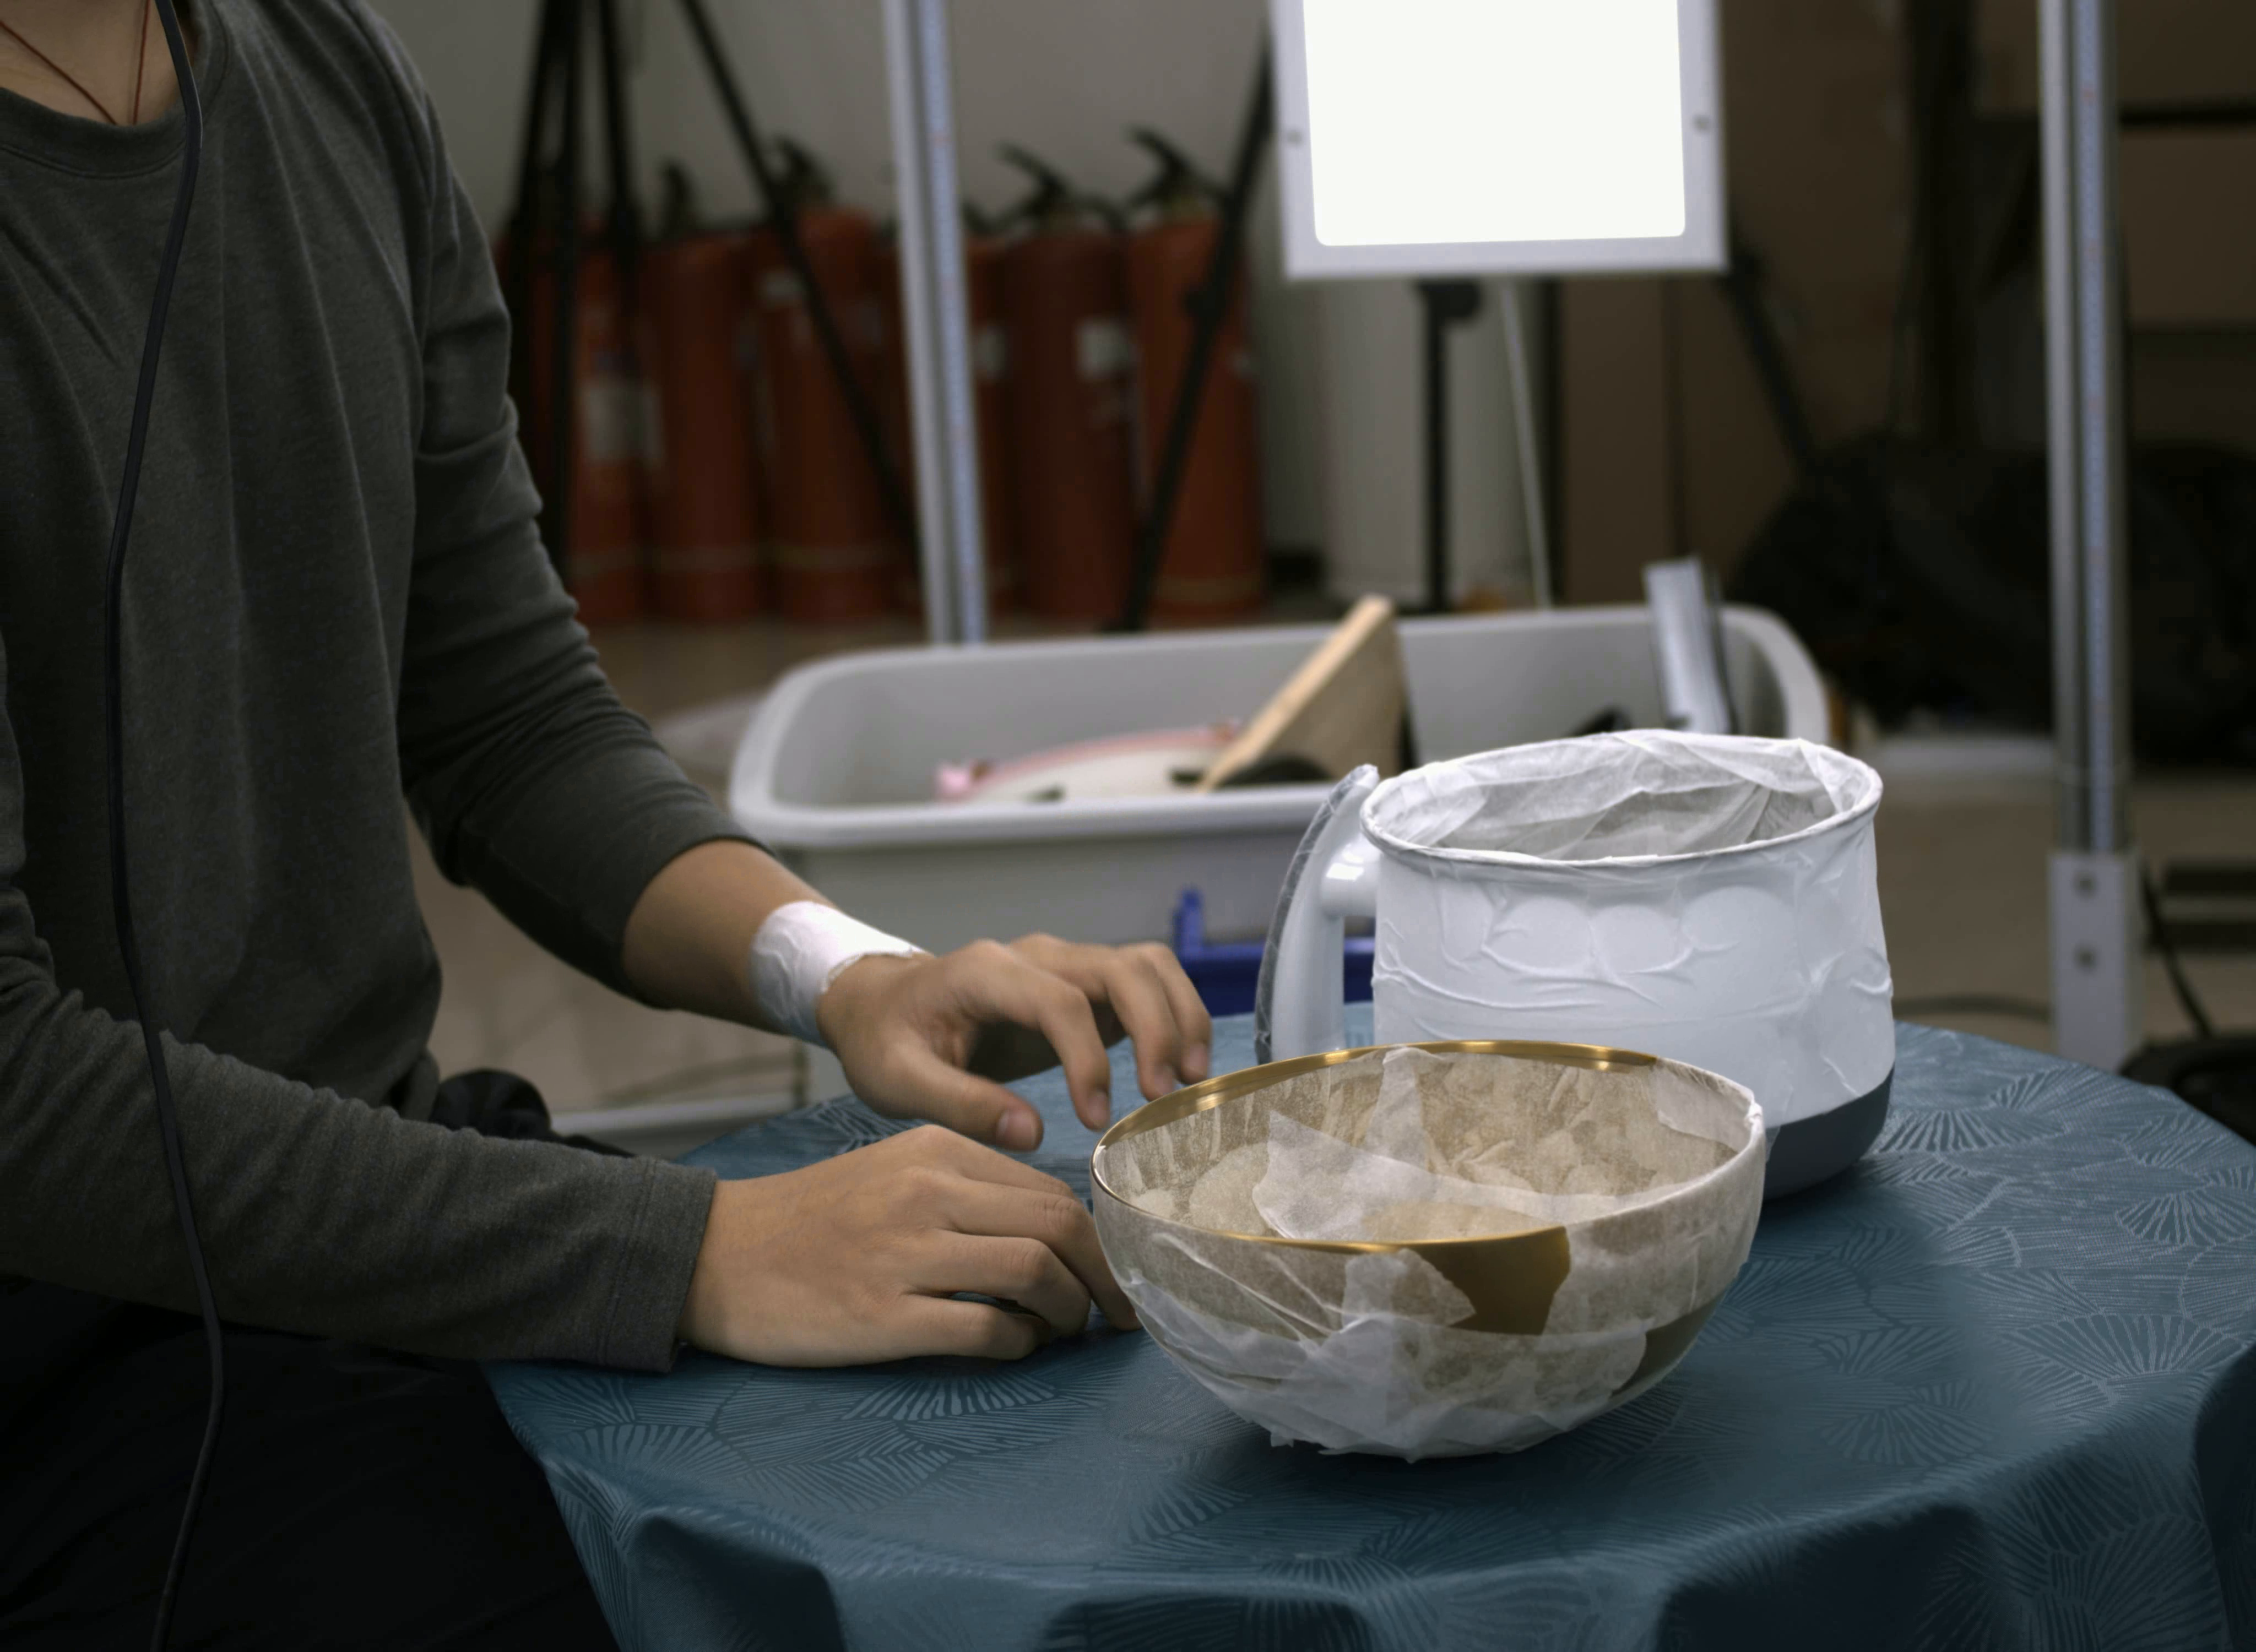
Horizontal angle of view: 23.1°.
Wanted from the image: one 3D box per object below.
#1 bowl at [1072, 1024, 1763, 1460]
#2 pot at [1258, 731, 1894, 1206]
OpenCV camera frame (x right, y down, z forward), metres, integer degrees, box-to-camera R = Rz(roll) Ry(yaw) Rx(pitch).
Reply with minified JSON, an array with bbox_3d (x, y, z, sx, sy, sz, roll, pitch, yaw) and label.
[{"bbox_3d":[0.089,0.133,1.646,0.214,0.095,0.214,-7,15,0],"label":"bowl"},{"bbox_3d":[0.147,0.049,1.877,0.238,0.137,0.174,4,16,32],"label":"pot"}]
